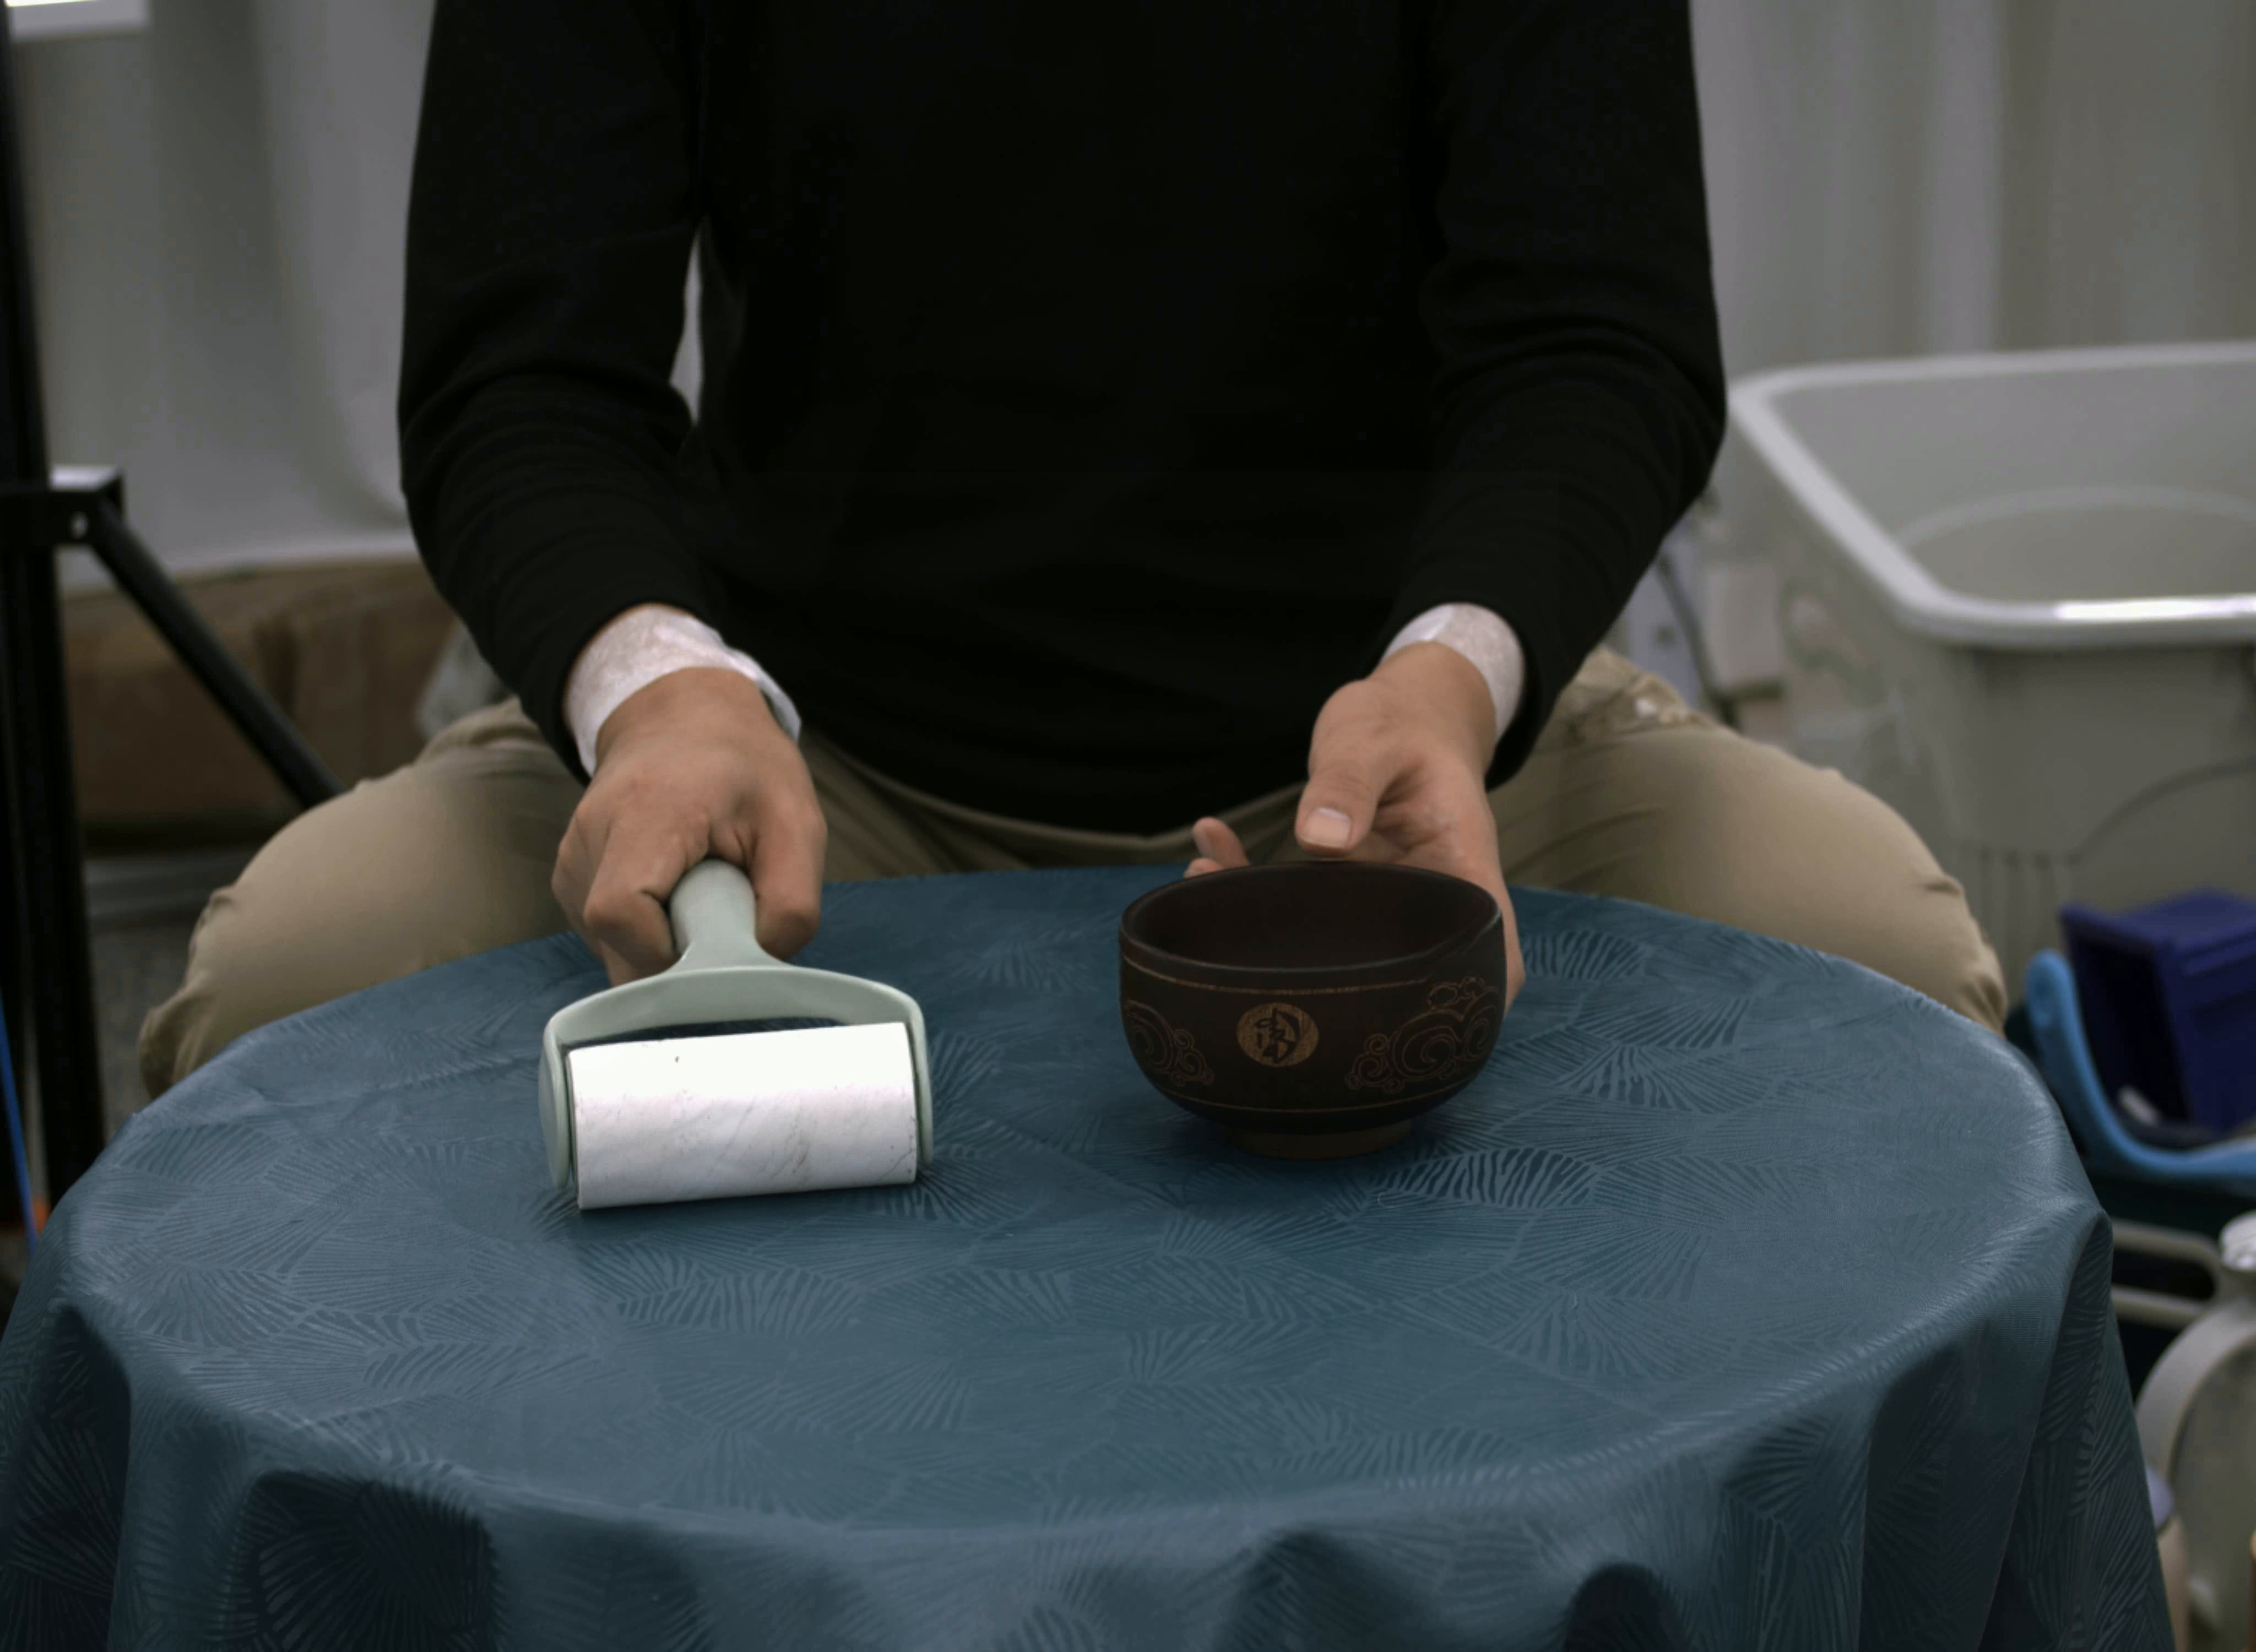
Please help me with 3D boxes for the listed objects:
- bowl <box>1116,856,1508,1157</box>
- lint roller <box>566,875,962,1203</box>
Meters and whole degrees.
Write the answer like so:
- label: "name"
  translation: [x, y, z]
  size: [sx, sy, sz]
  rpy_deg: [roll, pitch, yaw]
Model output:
- label: "bowl"
  translation: [0.056, 0.058, 1.594]
  size: [0.117, 0.070, 0.118]
  rpy_deg: [-4, 15, 0]
- label: "lint roller"
  translation: [-0.118, 0.051, 1.634]
  size: [0.115, 0.048, 0.200]
  rpy_deg: [-5, 27, -7]
